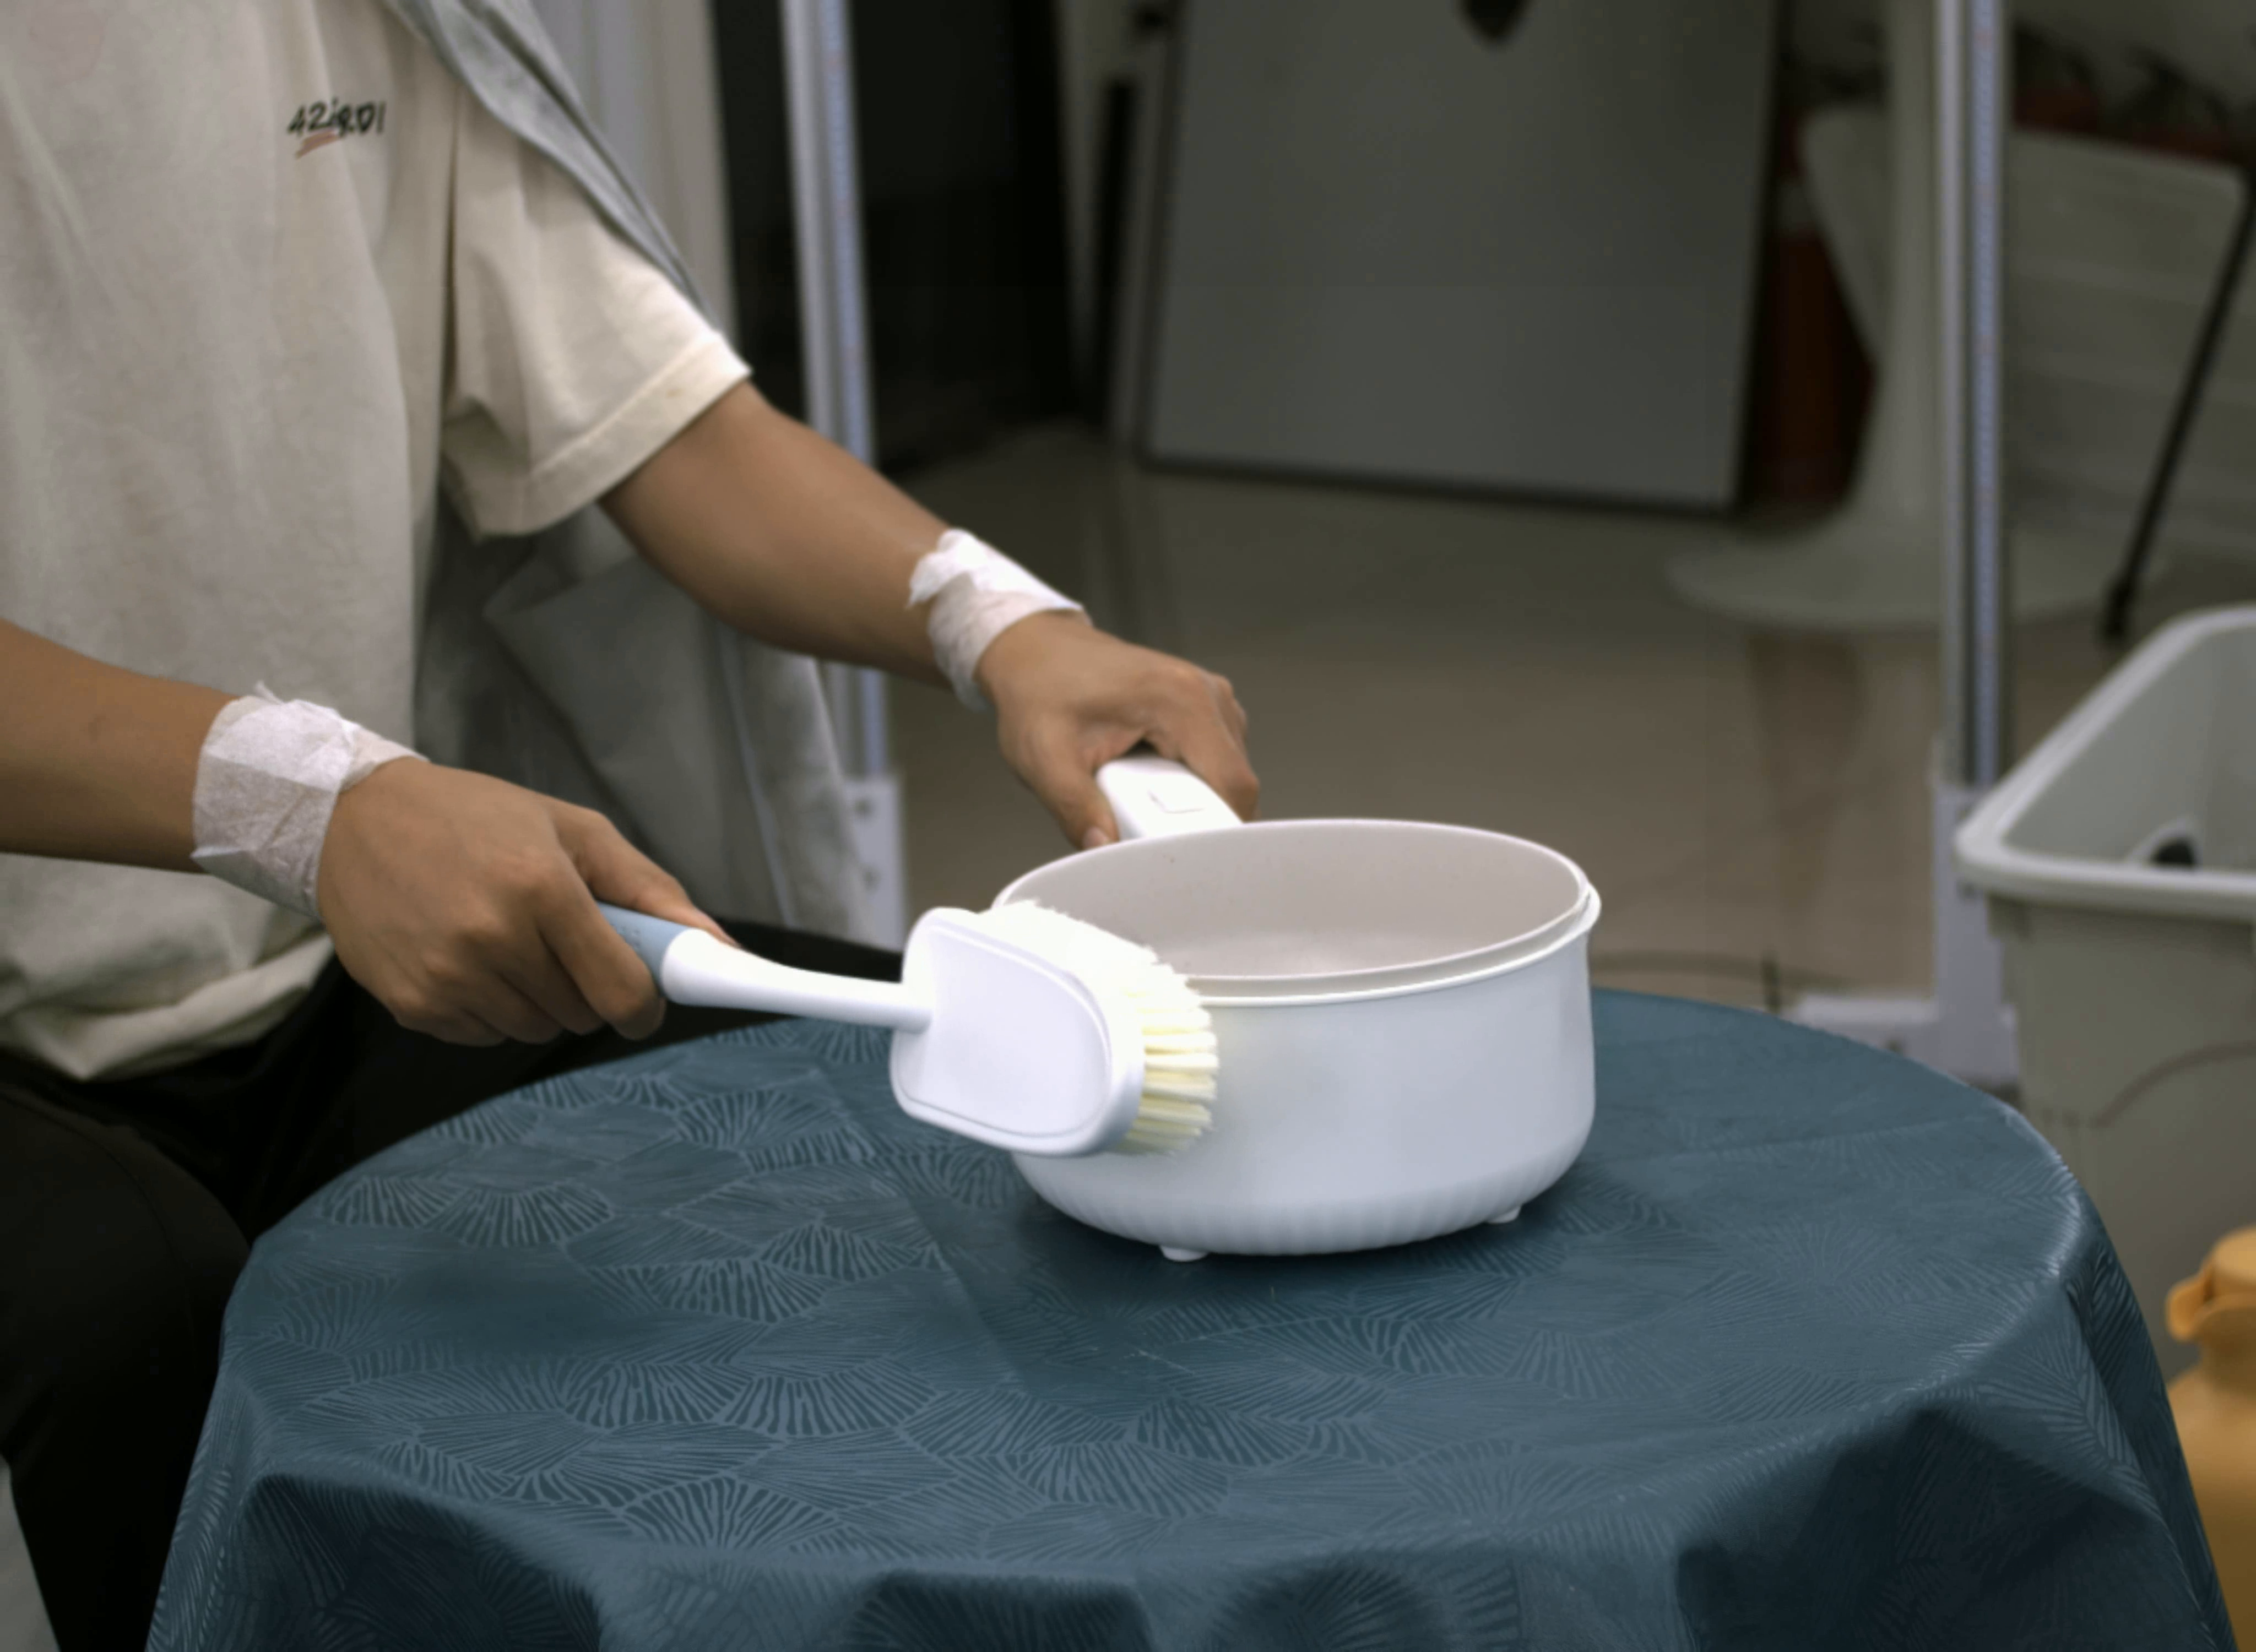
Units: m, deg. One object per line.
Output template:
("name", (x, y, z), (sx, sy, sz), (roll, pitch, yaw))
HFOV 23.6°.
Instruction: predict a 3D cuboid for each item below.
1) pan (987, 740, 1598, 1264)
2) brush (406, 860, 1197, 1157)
("pan", (0.038, 0.054, 1.822), (0.197, 0.103, 0.357), (-6, 14, -11))
("brush", (-0.097, 0.045, 1.716), (0.328, 0.084, 0.083), (13, 60, 41))
